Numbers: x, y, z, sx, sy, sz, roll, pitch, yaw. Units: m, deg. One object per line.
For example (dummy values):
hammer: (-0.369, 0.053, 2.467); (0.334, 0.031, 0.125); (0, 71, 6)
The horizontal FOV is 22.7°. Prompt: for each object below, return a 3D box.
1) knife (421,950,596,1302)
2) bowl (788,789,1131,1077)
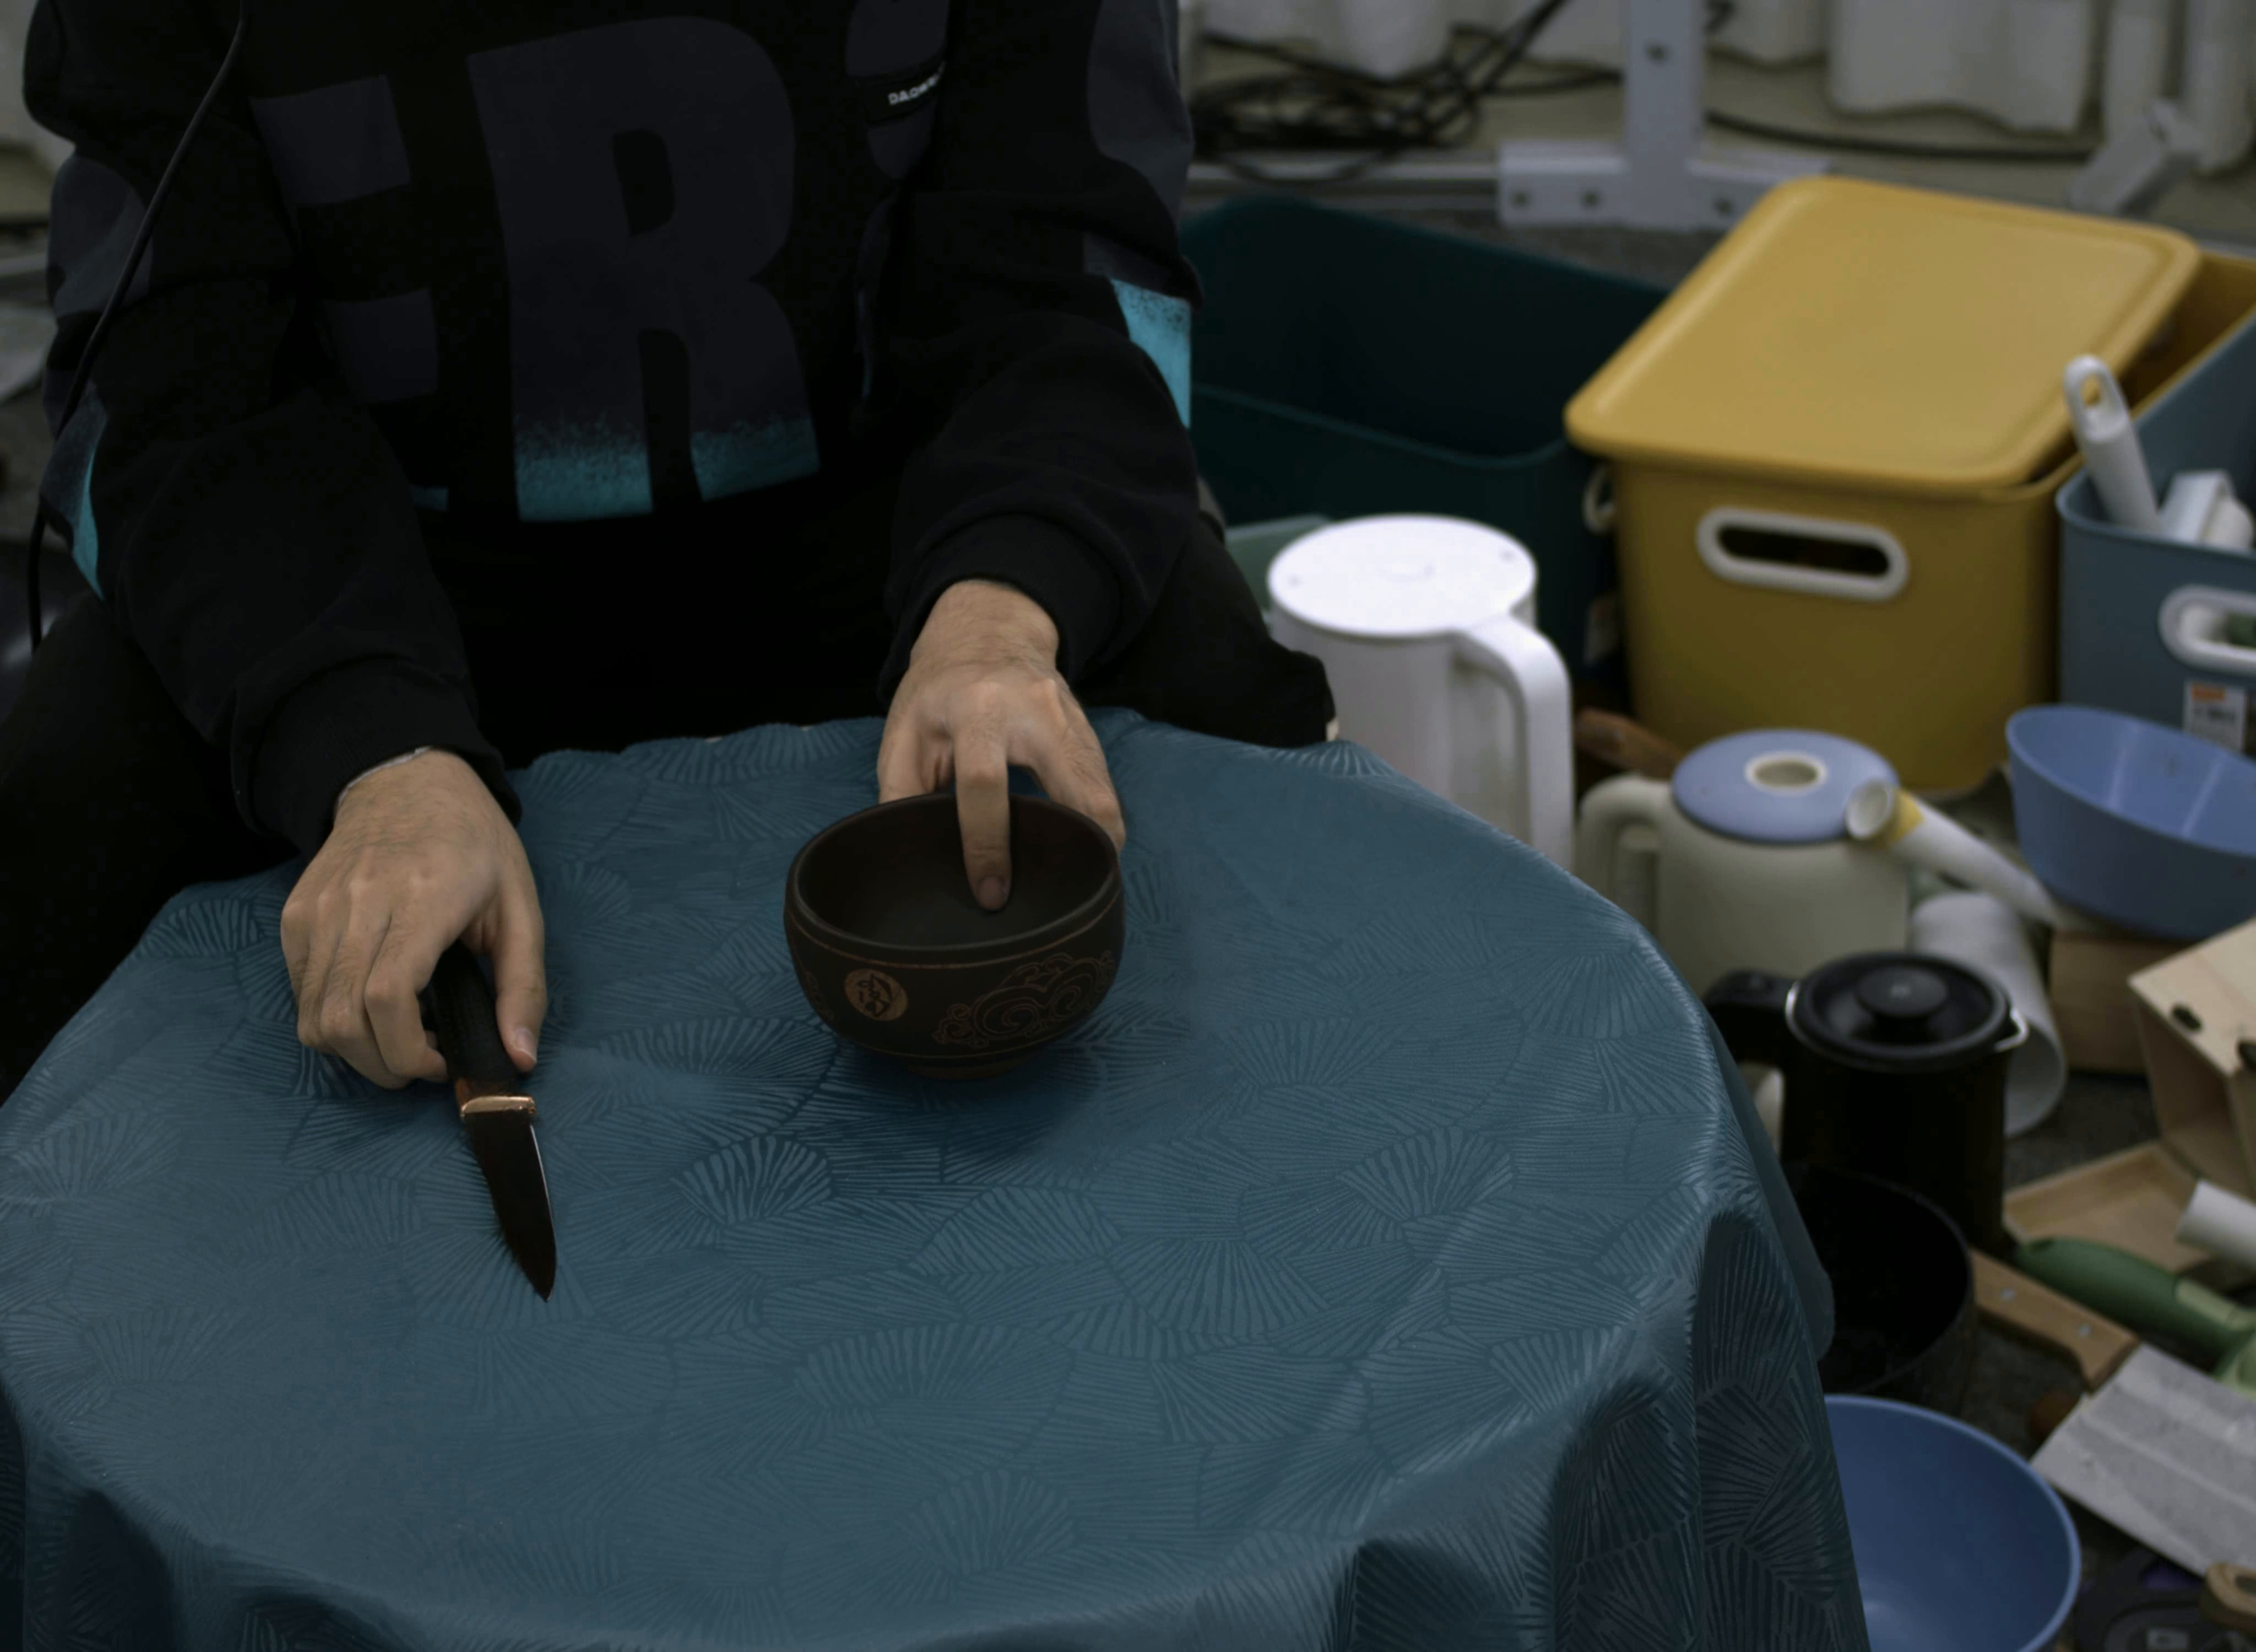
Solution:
knife: (-0.212, 0.101, 1.910); (0.026, 0.017, 0.228); (-3, 28, -17)
bowl: (-0.057, 0.043, 1.938); (0.117, 0.069, 0.120); (-1, 26, 1)
